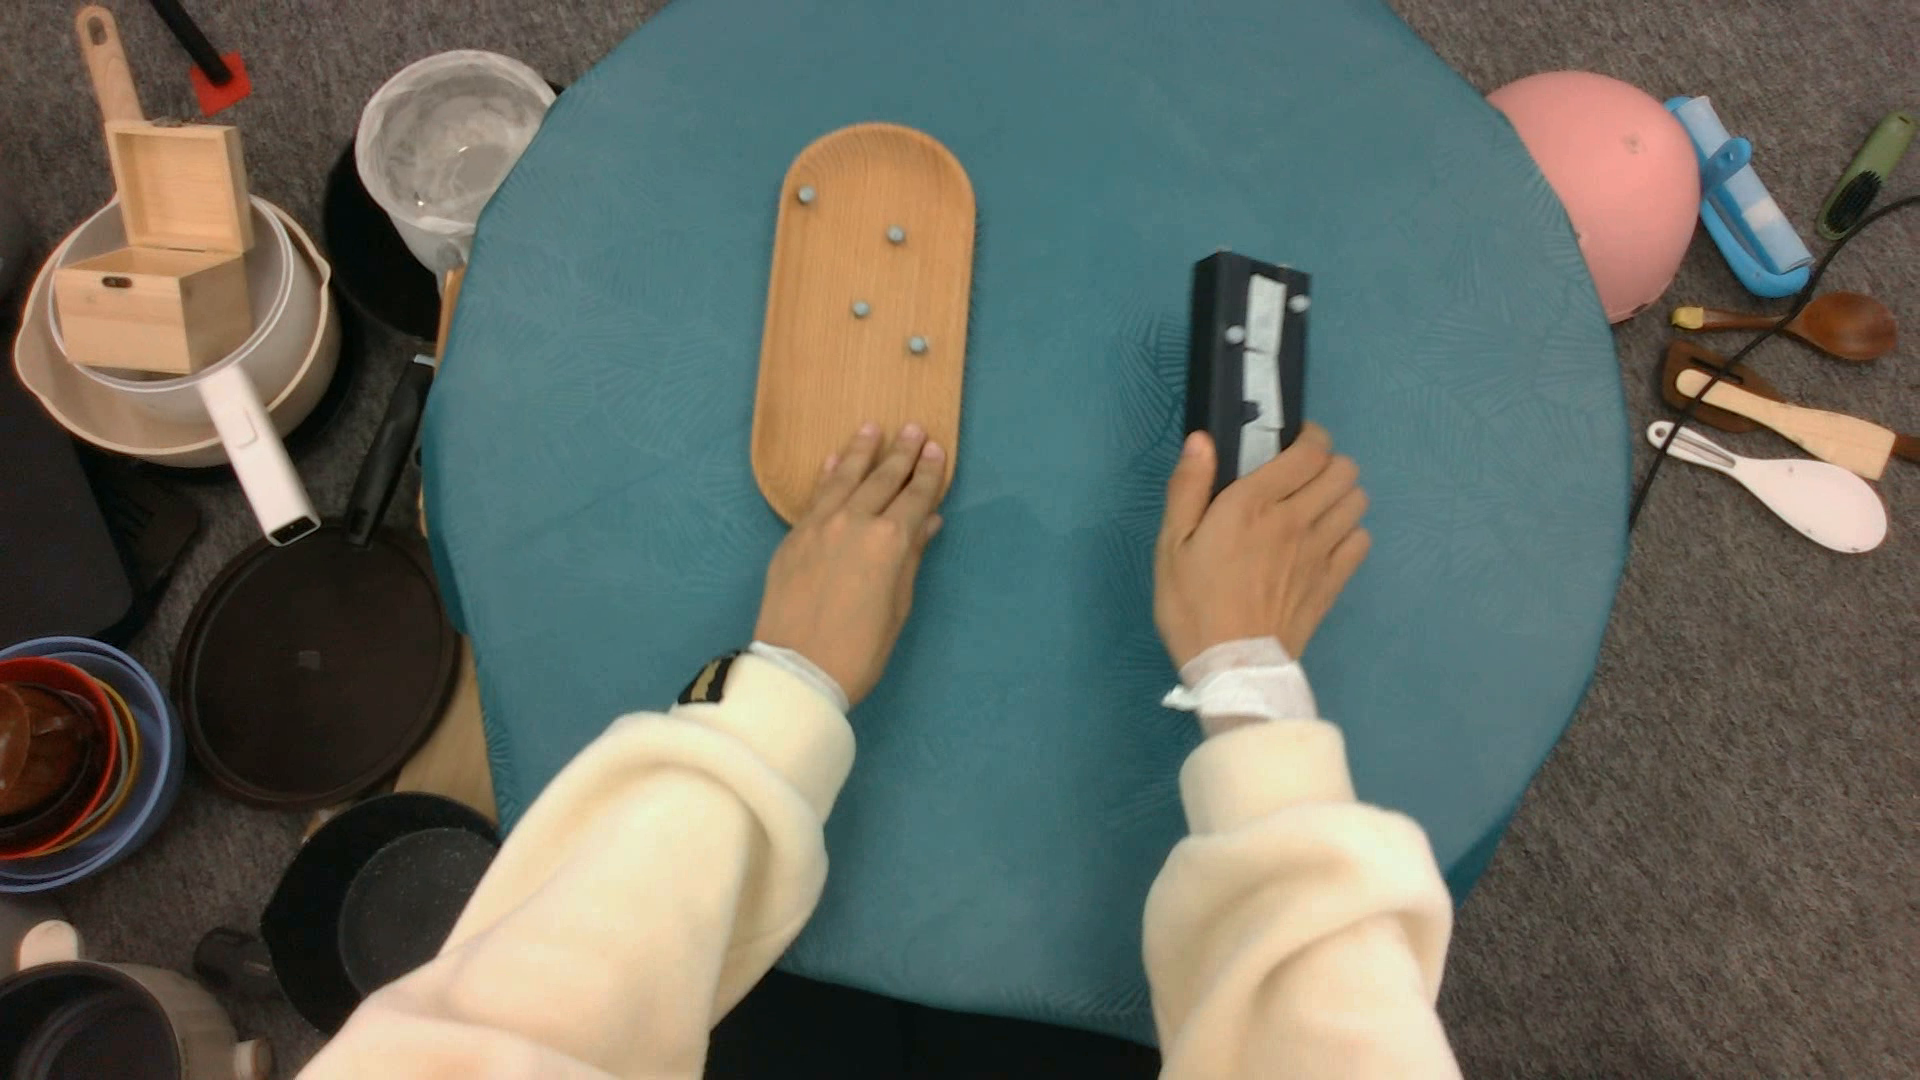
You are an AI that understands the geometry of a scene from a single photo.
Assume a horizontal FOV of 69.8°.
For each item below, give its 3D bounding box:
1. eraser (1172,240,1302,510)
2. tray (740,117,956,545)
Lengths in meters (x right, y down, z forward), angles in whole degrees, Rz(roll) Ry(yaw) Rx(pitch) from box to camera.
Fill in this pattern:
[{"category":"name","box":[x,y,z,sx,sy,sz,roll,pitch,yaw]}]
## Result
[{"category":"eraser","box":[0.131,-0.078,0.650,0.053,0.030,0.126,9,74,-12]},{"category":"tray","box":[-0.054,-0.109,0.692,0.102,0.020,0.231,2,74,-3]}]
